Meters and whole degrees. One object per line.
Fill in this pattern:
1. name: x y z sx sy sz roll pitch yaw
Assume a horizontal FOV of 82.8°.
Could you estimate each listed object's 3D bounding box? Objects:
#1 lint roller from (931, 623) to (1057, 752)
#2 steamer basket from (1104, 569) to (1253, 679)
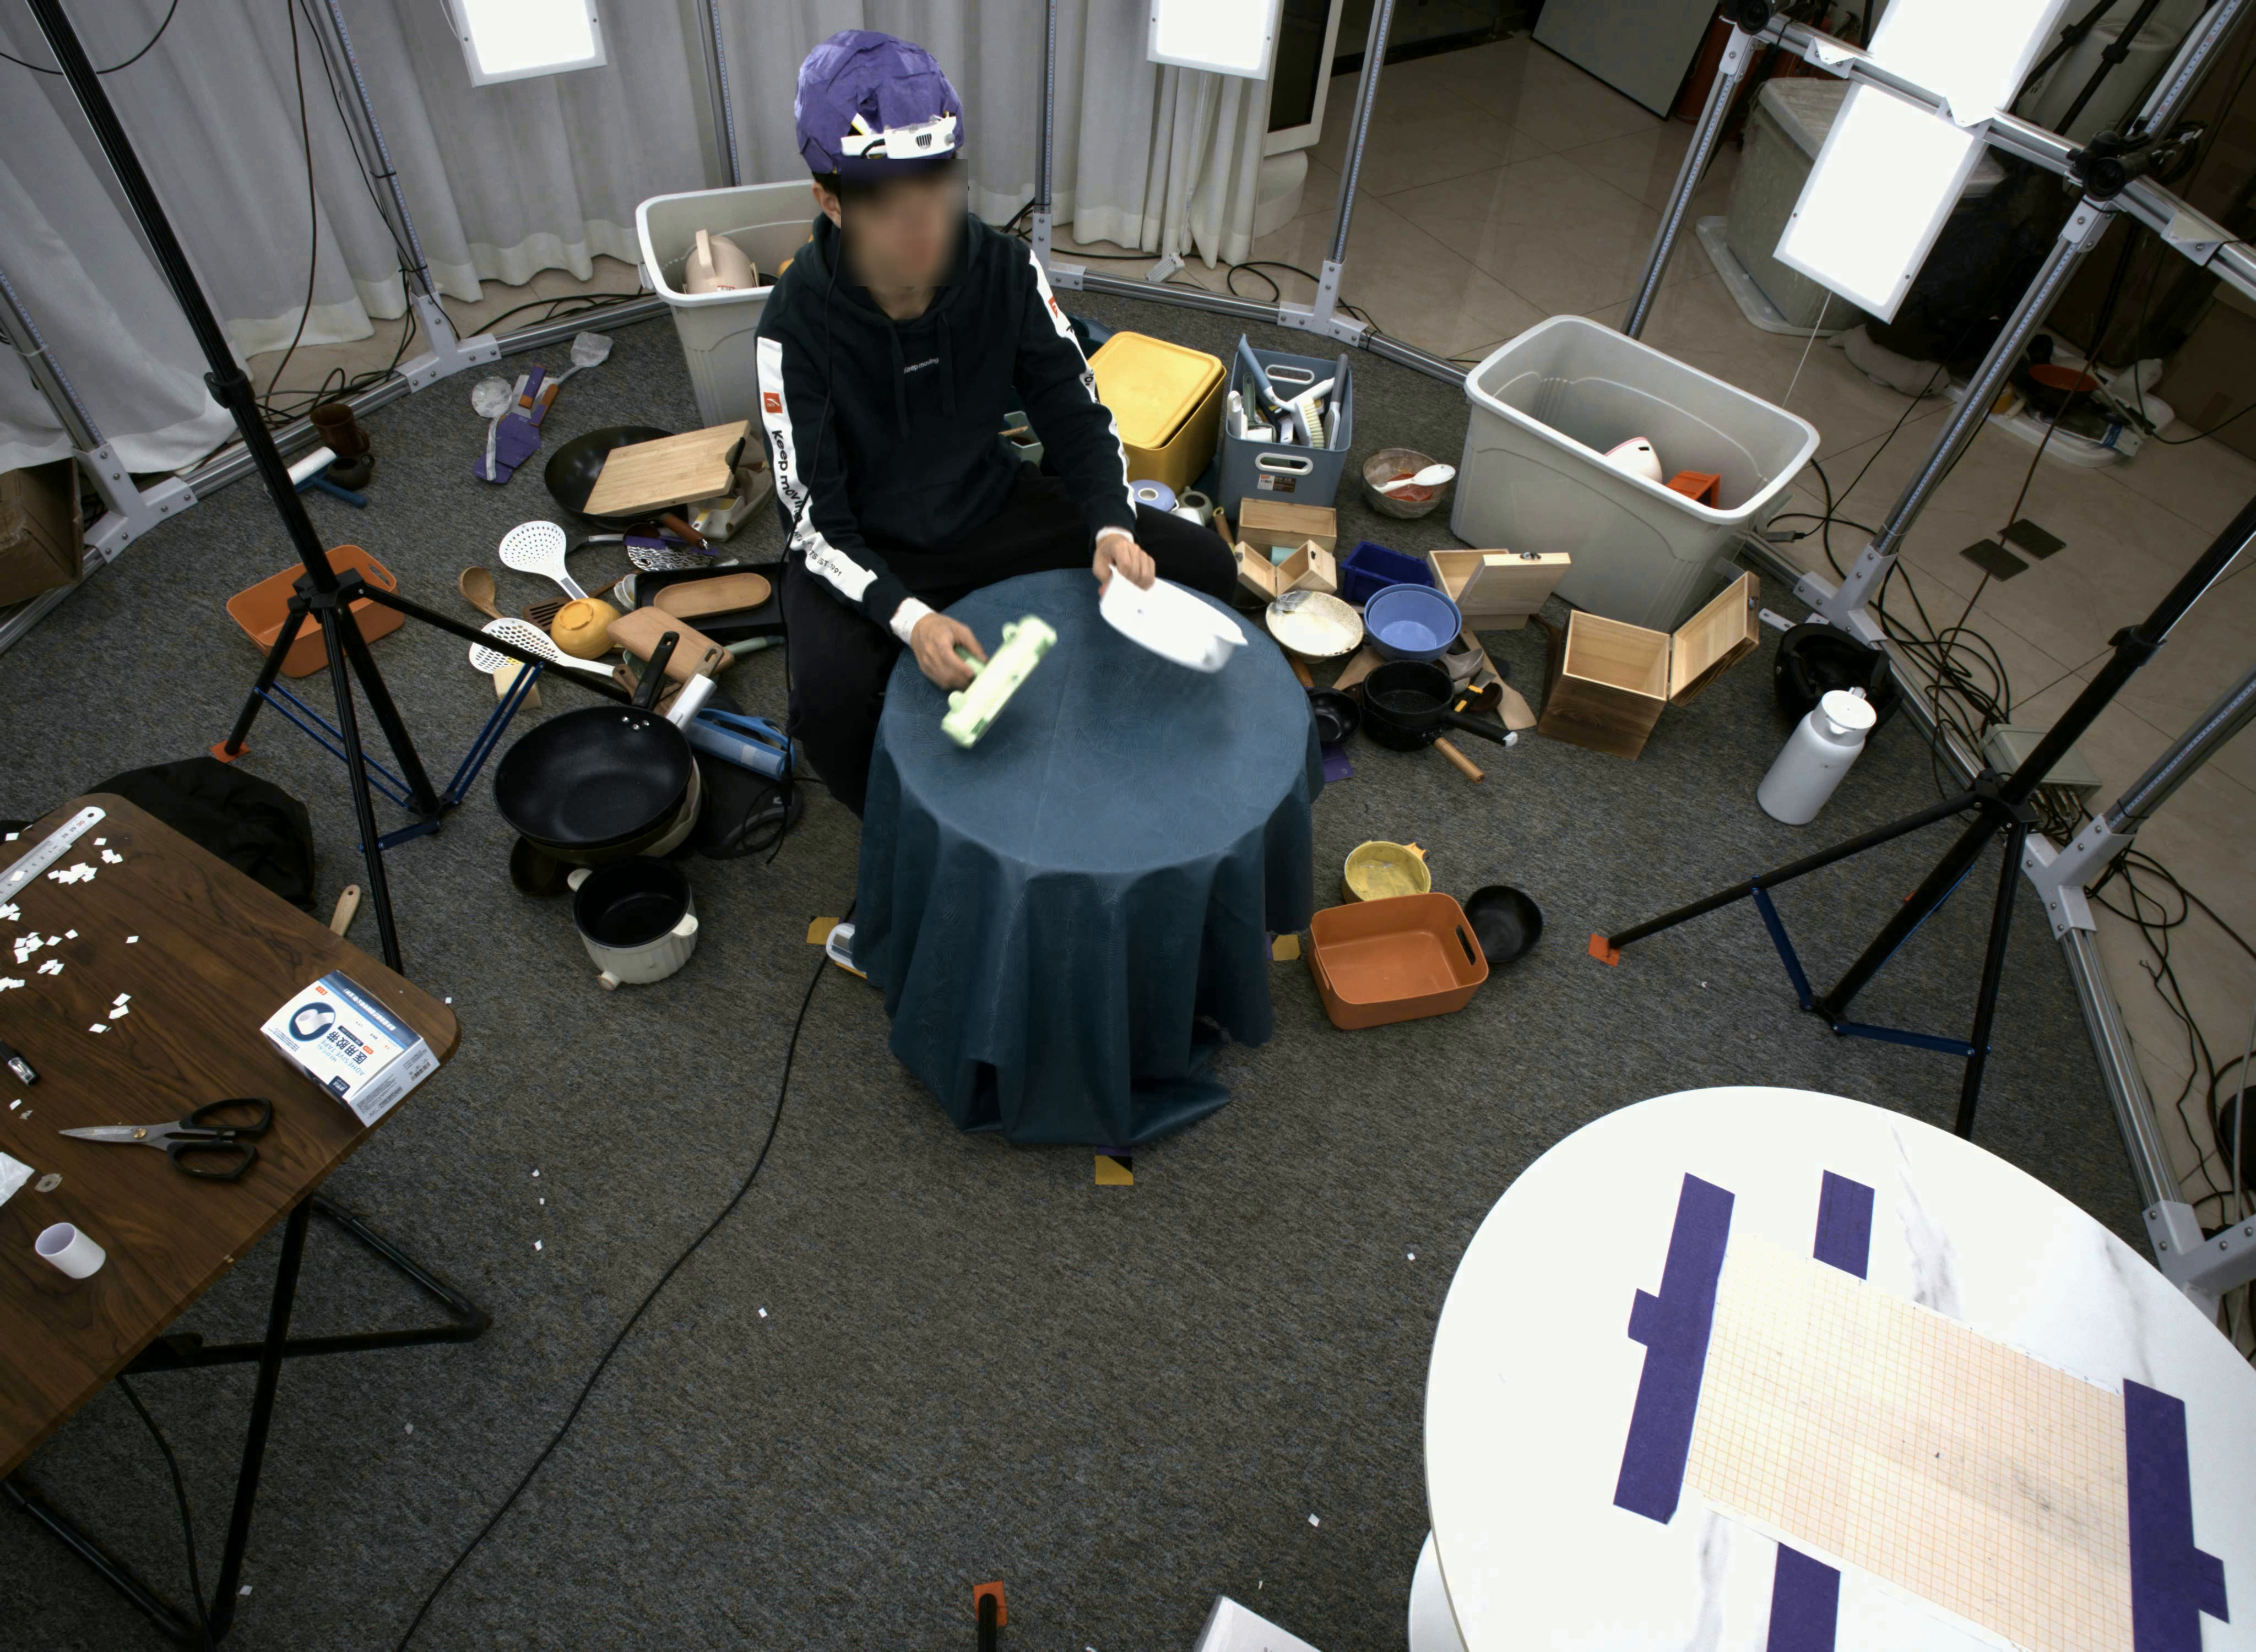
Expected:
1. lint roller: -0.217 -0.217 1.749 0.186 0.080 0.200 34 78 31
2. steamer basket: 0.063 -0.278 1.794 0.233 0.068 0.202 36 22 21
